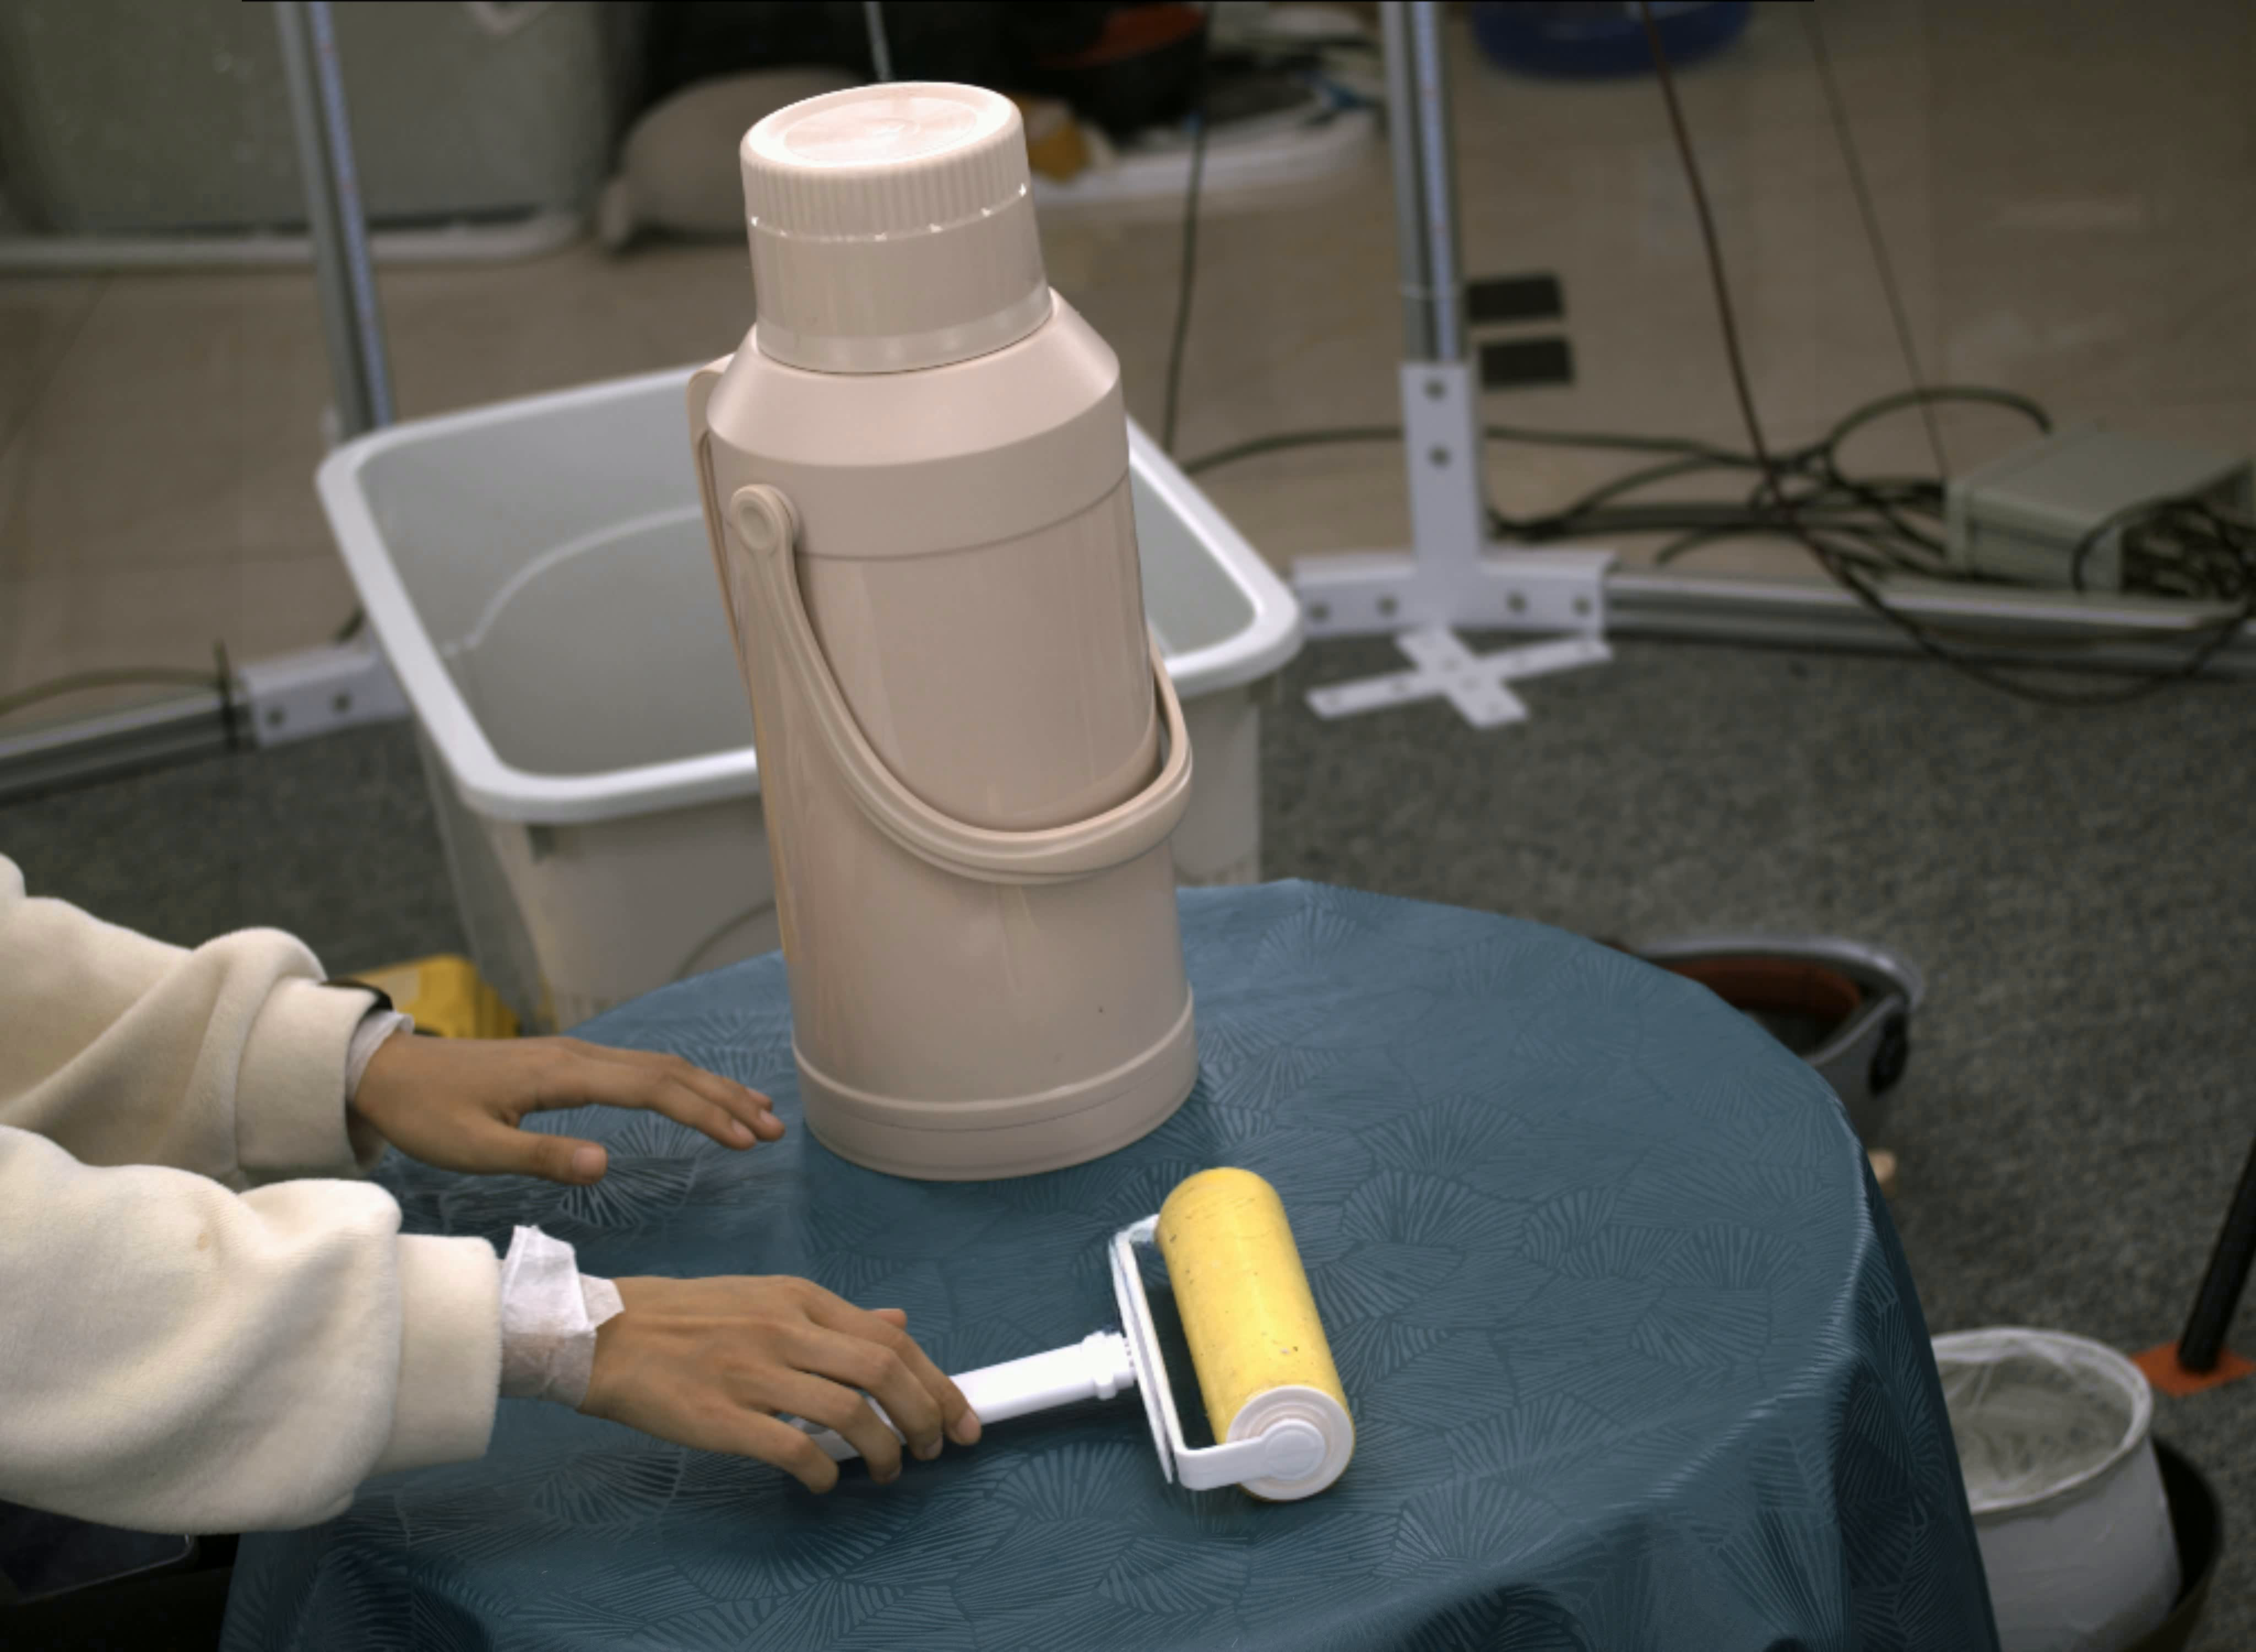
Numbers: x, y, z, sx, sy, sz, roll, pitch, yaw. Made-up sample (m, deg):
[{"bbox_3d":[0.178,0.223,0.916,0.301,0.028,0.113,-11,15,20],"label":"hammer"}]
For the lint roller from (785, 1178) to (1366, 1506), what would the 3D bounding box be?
[{"bbox_3d":[-0.025,0.185,1.990,0.192,0.052,0.172,-2,24,-8],"label":"lint roller"}]

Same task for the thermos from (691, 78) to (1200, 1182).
[{"bbox_3d":[-0.079,-0.079,2.158,0.205,0.413,0.173,17,35,40],"label":"thermos"}]
